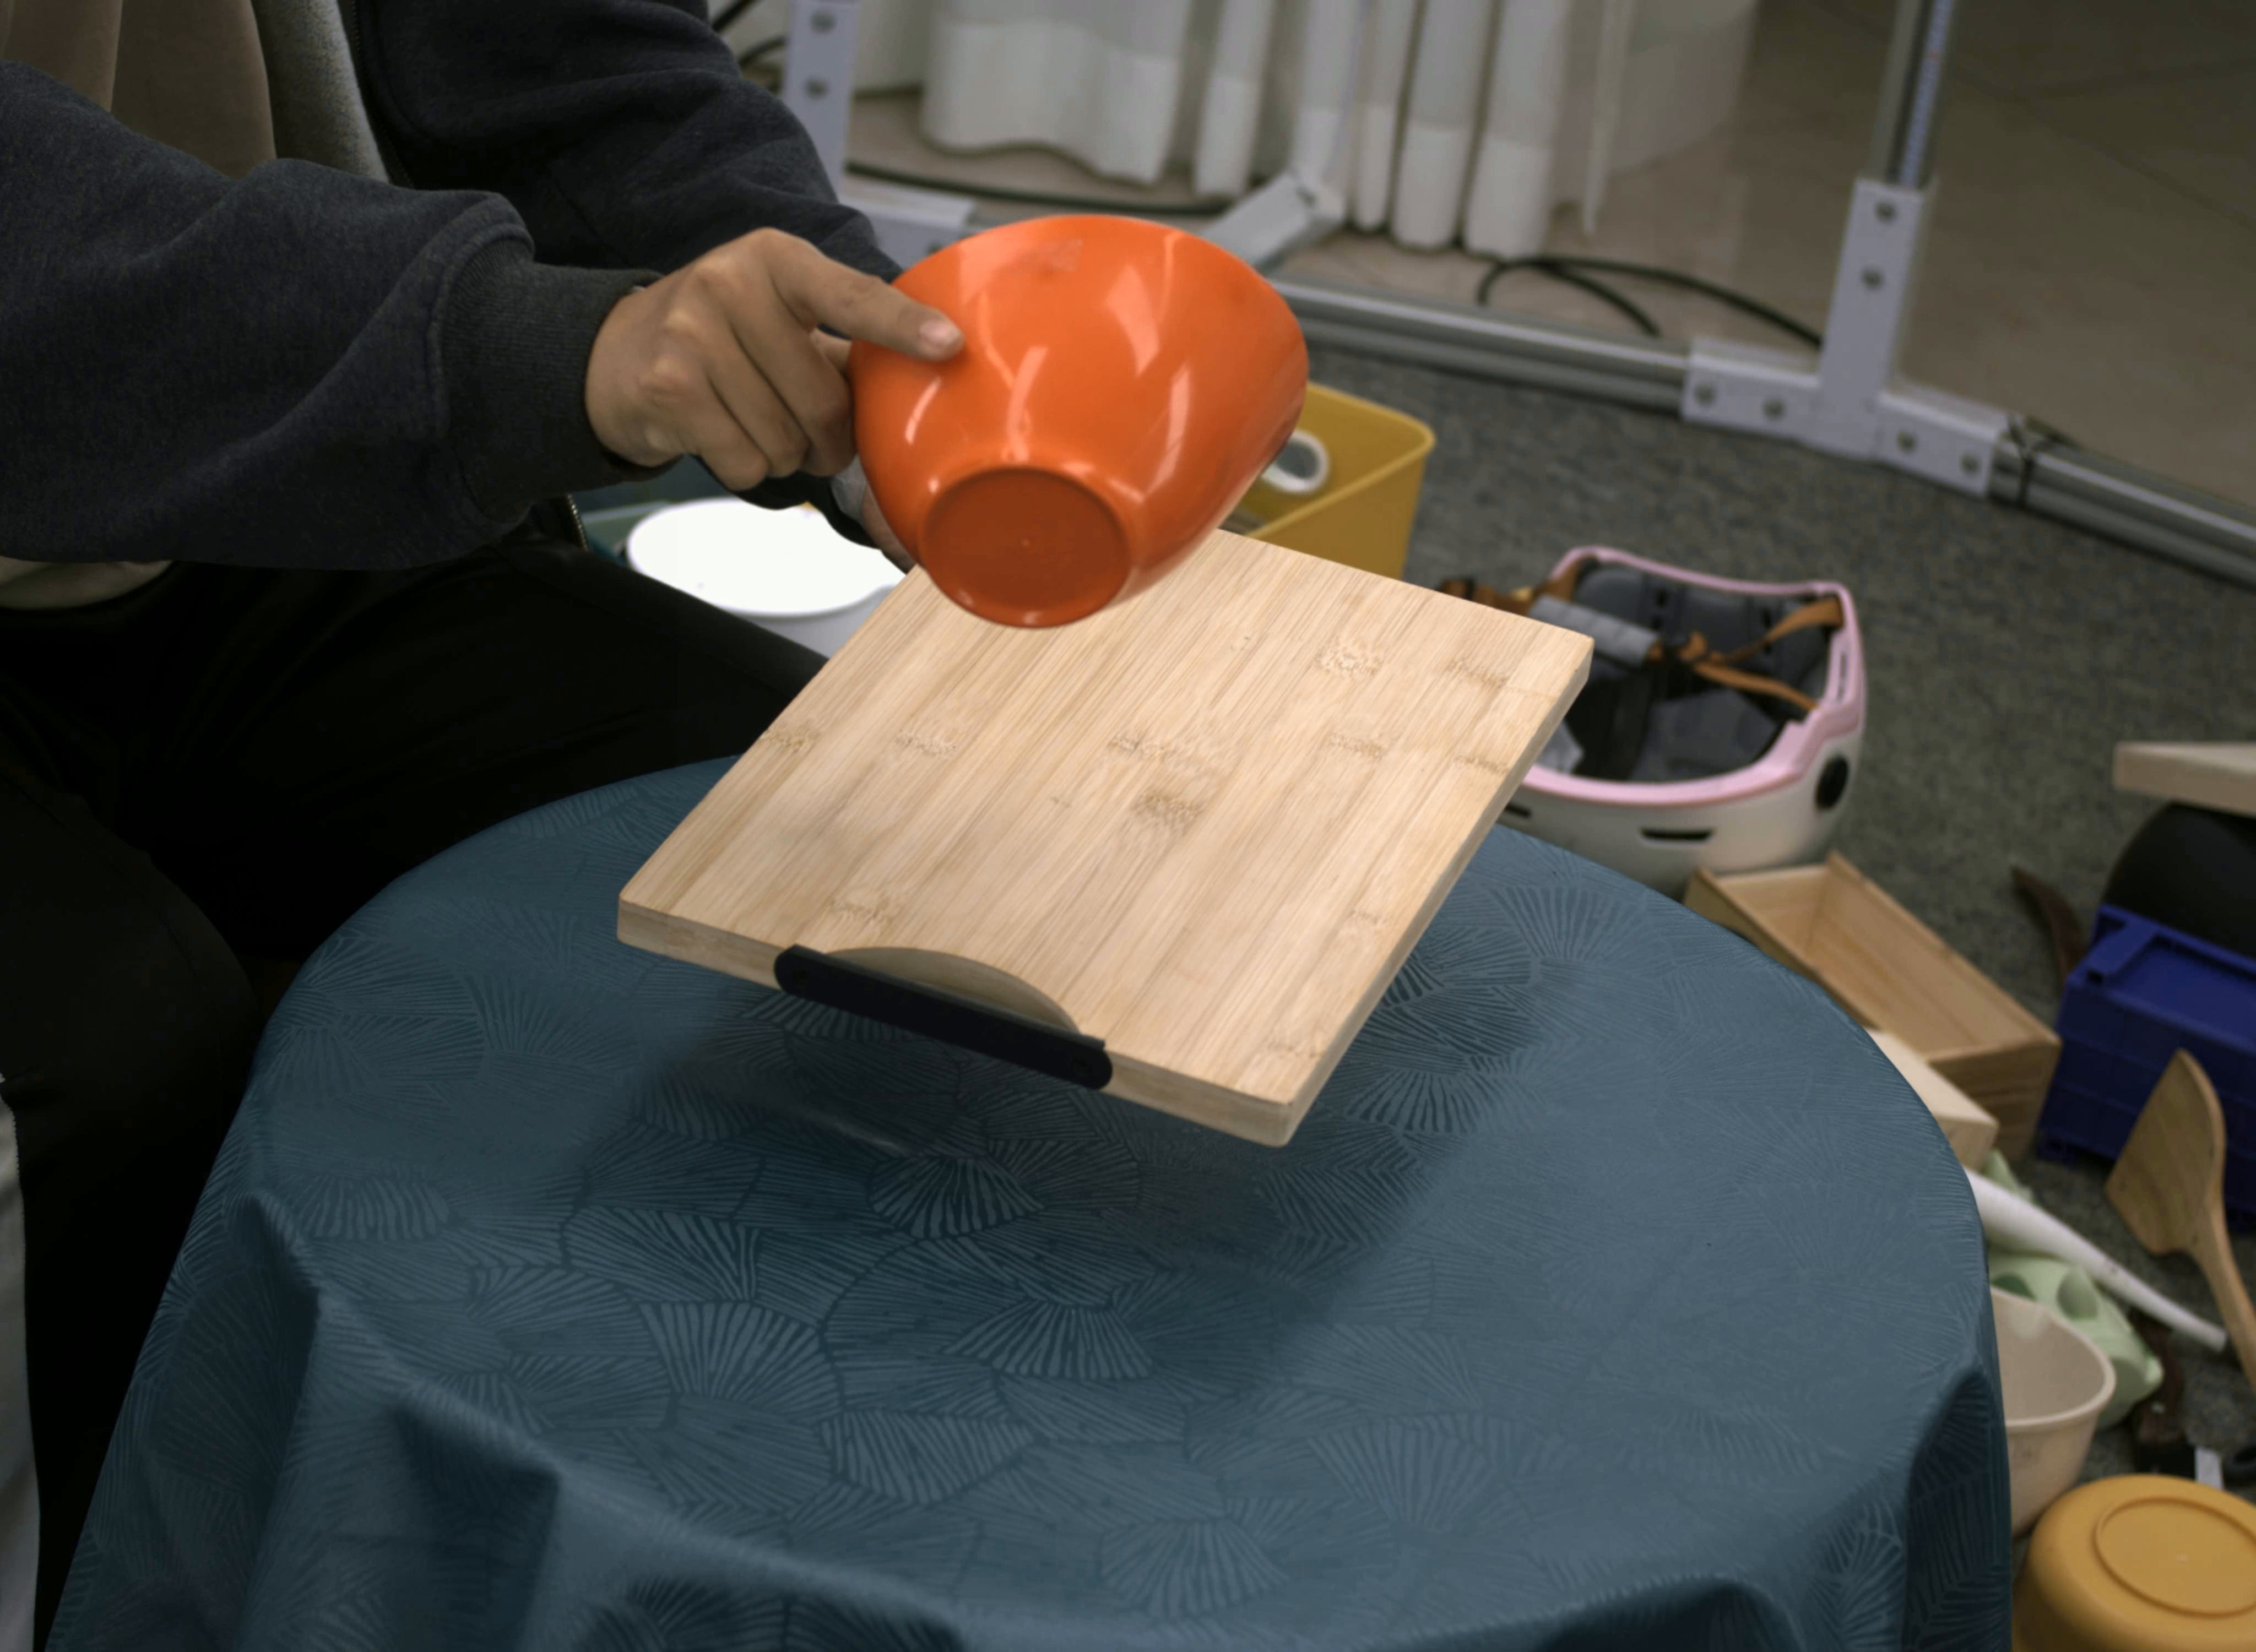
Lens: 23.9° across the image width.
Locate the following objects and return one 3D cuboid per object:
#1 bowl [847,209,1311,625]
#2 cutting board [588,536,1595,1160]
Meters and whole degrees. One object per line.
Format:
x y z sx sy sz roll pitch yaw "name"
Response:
-0.019 -0.115 1.671 0.147 0.147 0.105 8 43 1 "bowl"
-0.002 -0.012 1.862 0.251 0.023 0.349 16 33 15 "cutting board"
